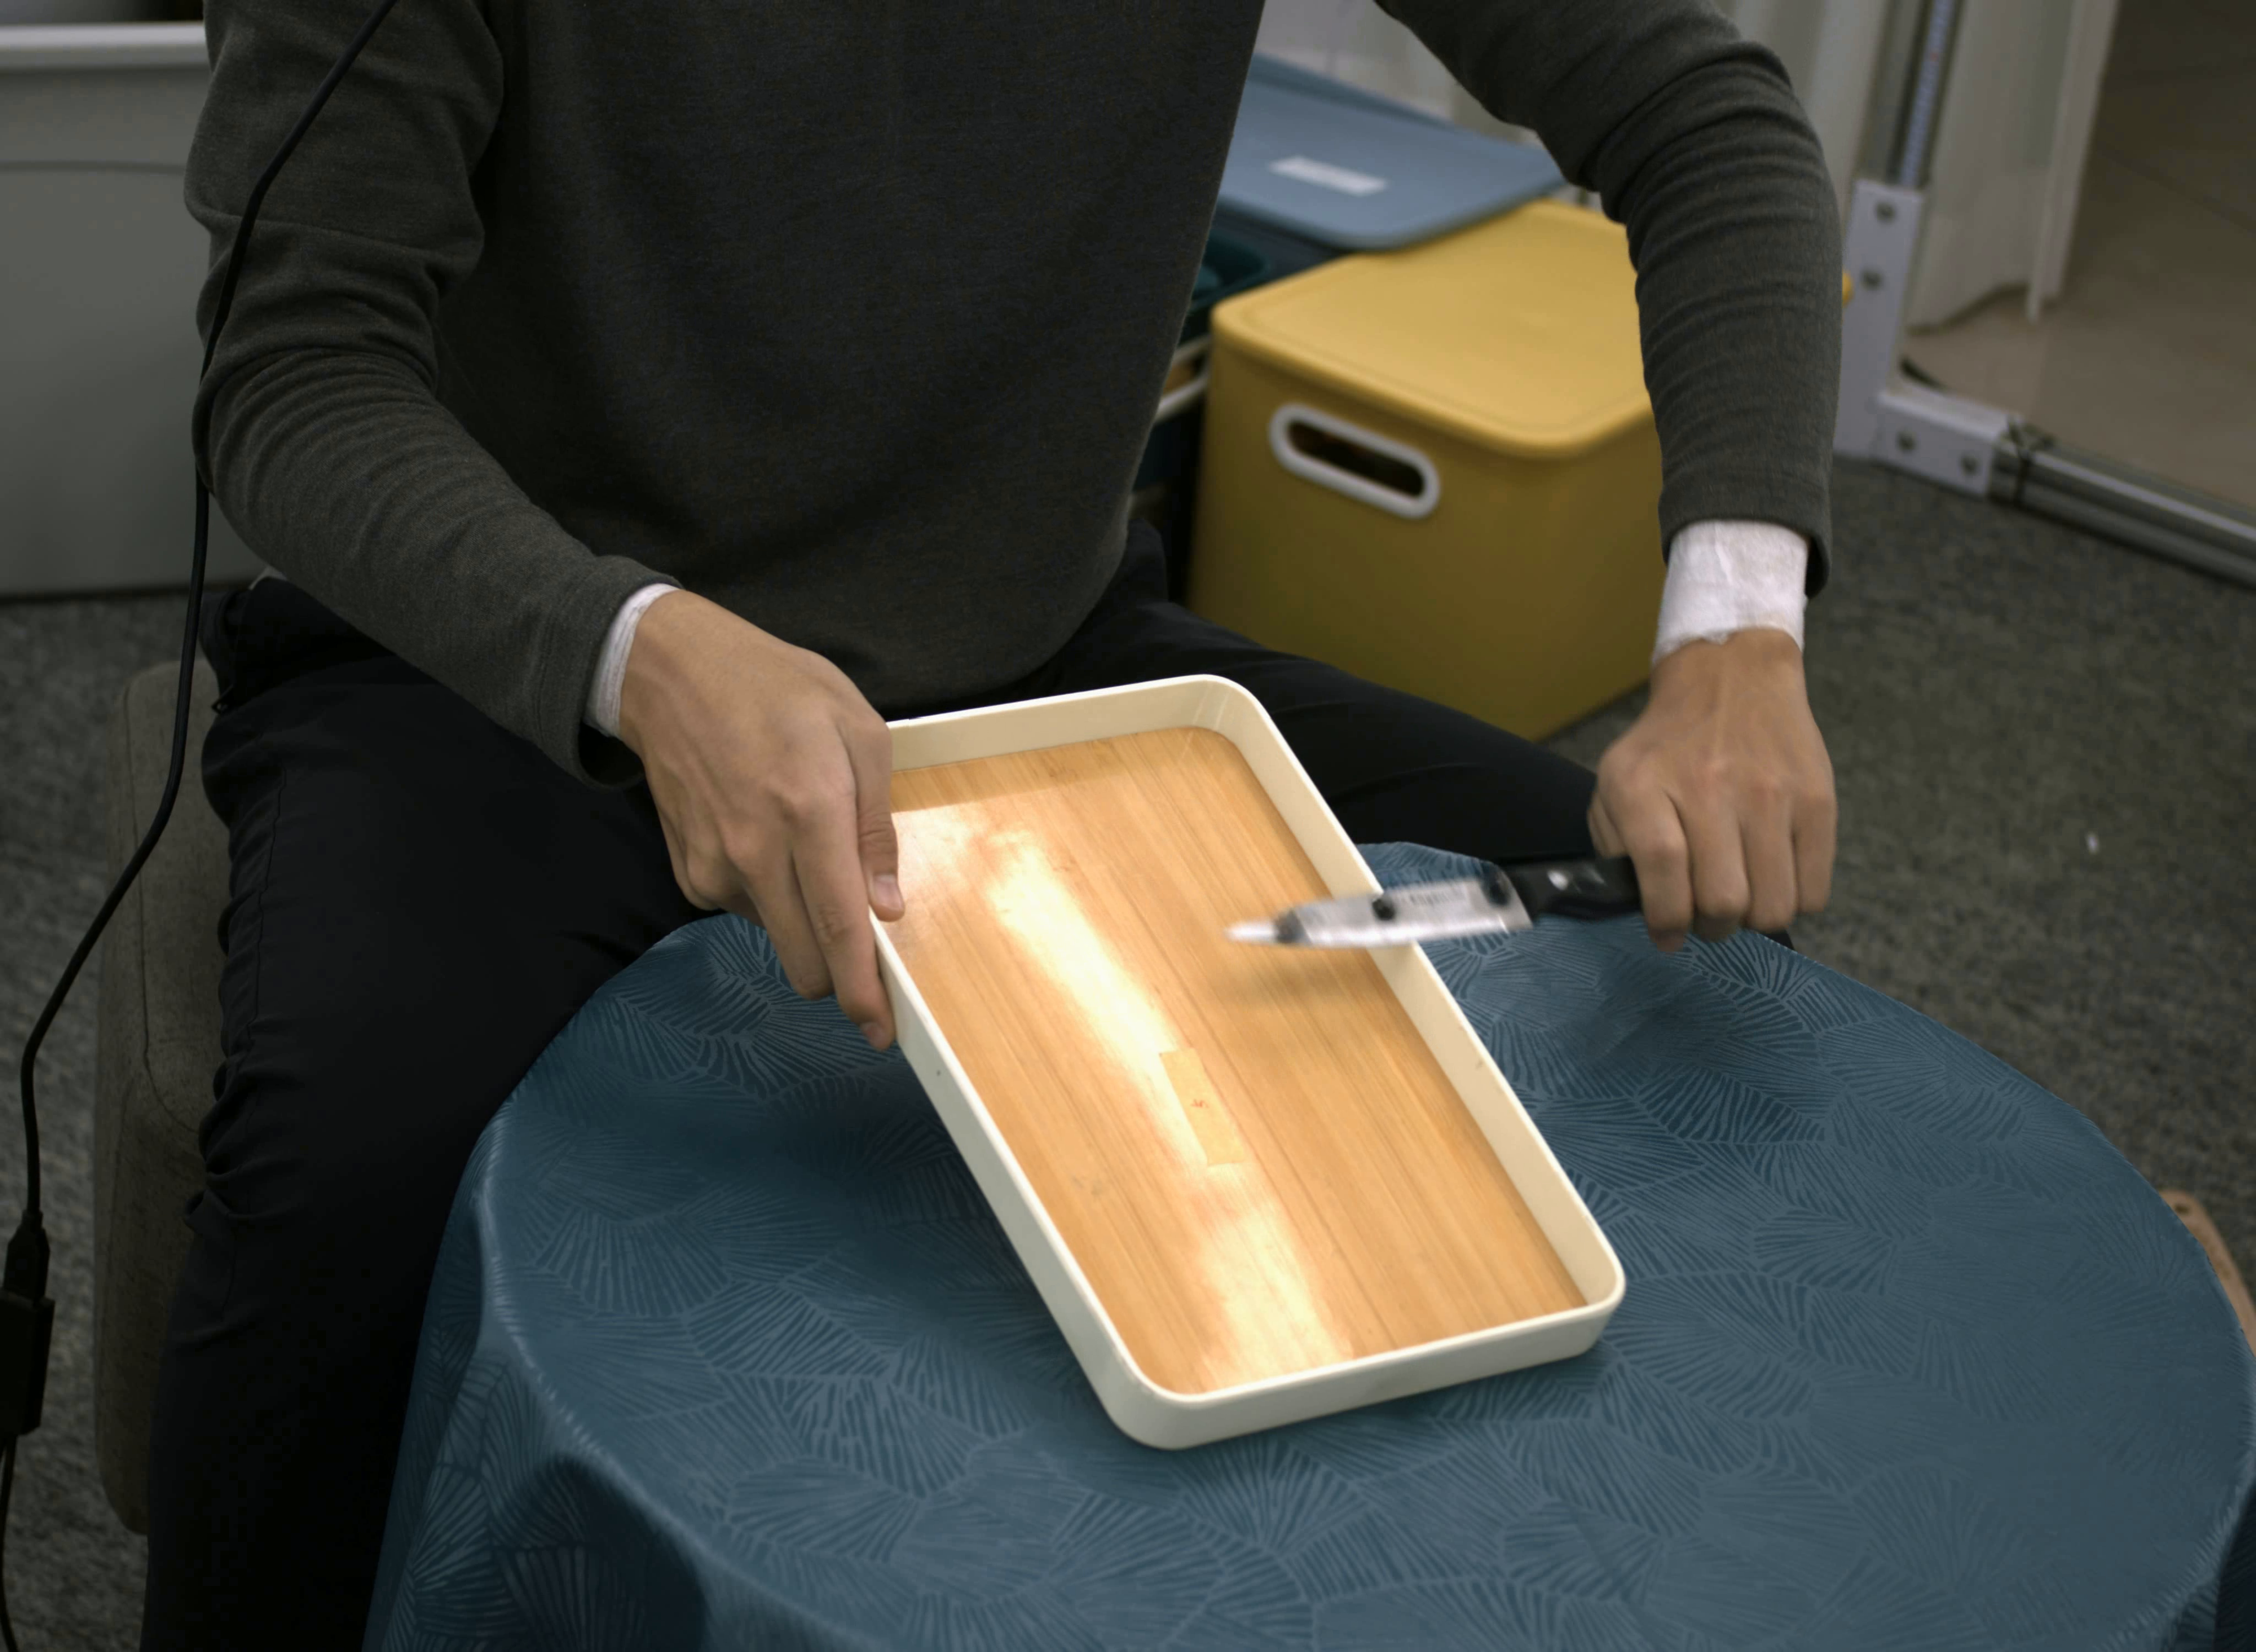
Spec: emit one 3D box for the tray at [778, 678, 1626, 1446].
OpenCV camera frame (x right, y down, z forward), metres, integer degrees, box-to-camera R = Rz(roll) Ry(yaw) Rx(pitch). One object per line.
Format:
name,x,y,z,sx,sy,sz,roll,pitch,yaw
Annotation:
tray,0.021,0.071,1.781,0.190,0.027,0.303,-8,49,-29

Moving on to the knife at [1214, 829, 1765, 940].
knife,0.127,0.021,1.857,0.236,0.016,0.024,-7,56,-33
